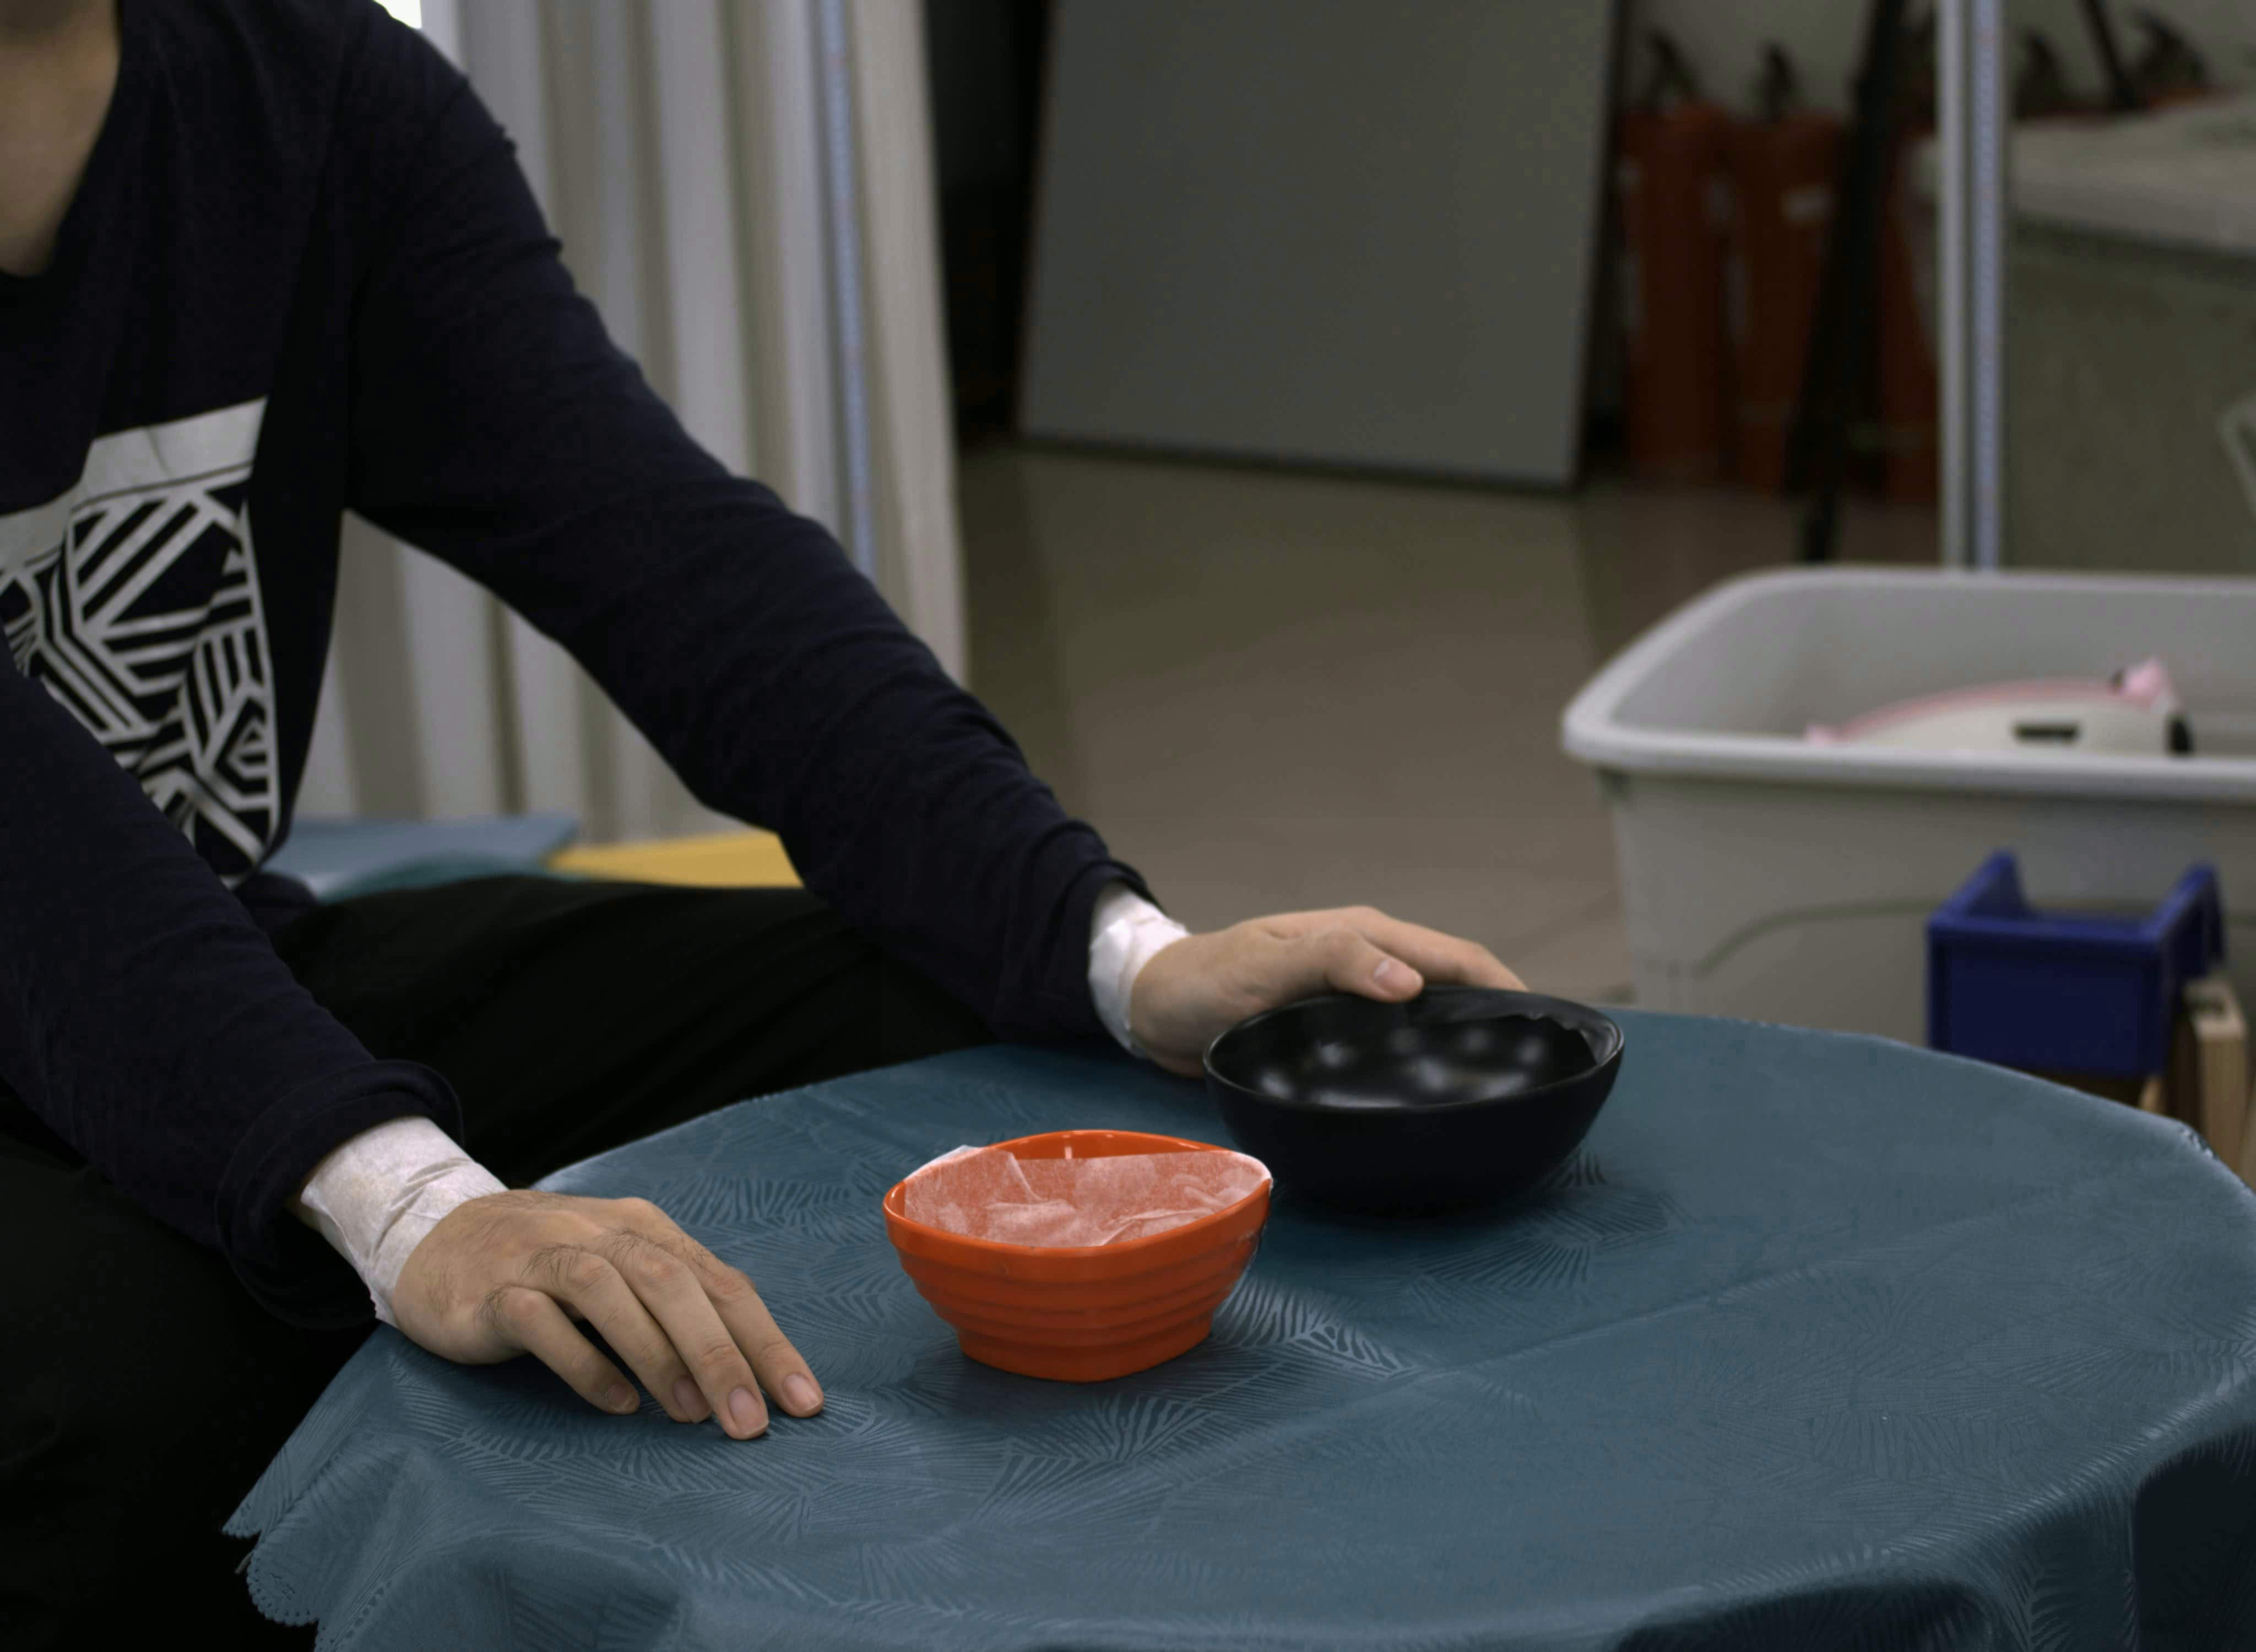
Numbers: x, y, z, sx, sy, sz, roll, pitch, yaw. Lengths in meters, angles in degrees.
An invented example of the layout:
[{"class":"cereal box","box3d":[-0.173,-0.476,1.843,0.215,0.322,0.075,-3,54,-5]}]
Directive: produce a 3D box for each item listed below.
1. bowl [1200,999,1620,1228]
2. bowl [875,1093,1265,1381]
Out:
[{"class":"bowl","box3d":[0.094,0.097,1.753,0.138,0.050,0.140,-7,11,0]},{"class":"bowl","box3d":[-0.015,0.127,1.624,0.117,0.052,0.119,-6,21,1]}]
